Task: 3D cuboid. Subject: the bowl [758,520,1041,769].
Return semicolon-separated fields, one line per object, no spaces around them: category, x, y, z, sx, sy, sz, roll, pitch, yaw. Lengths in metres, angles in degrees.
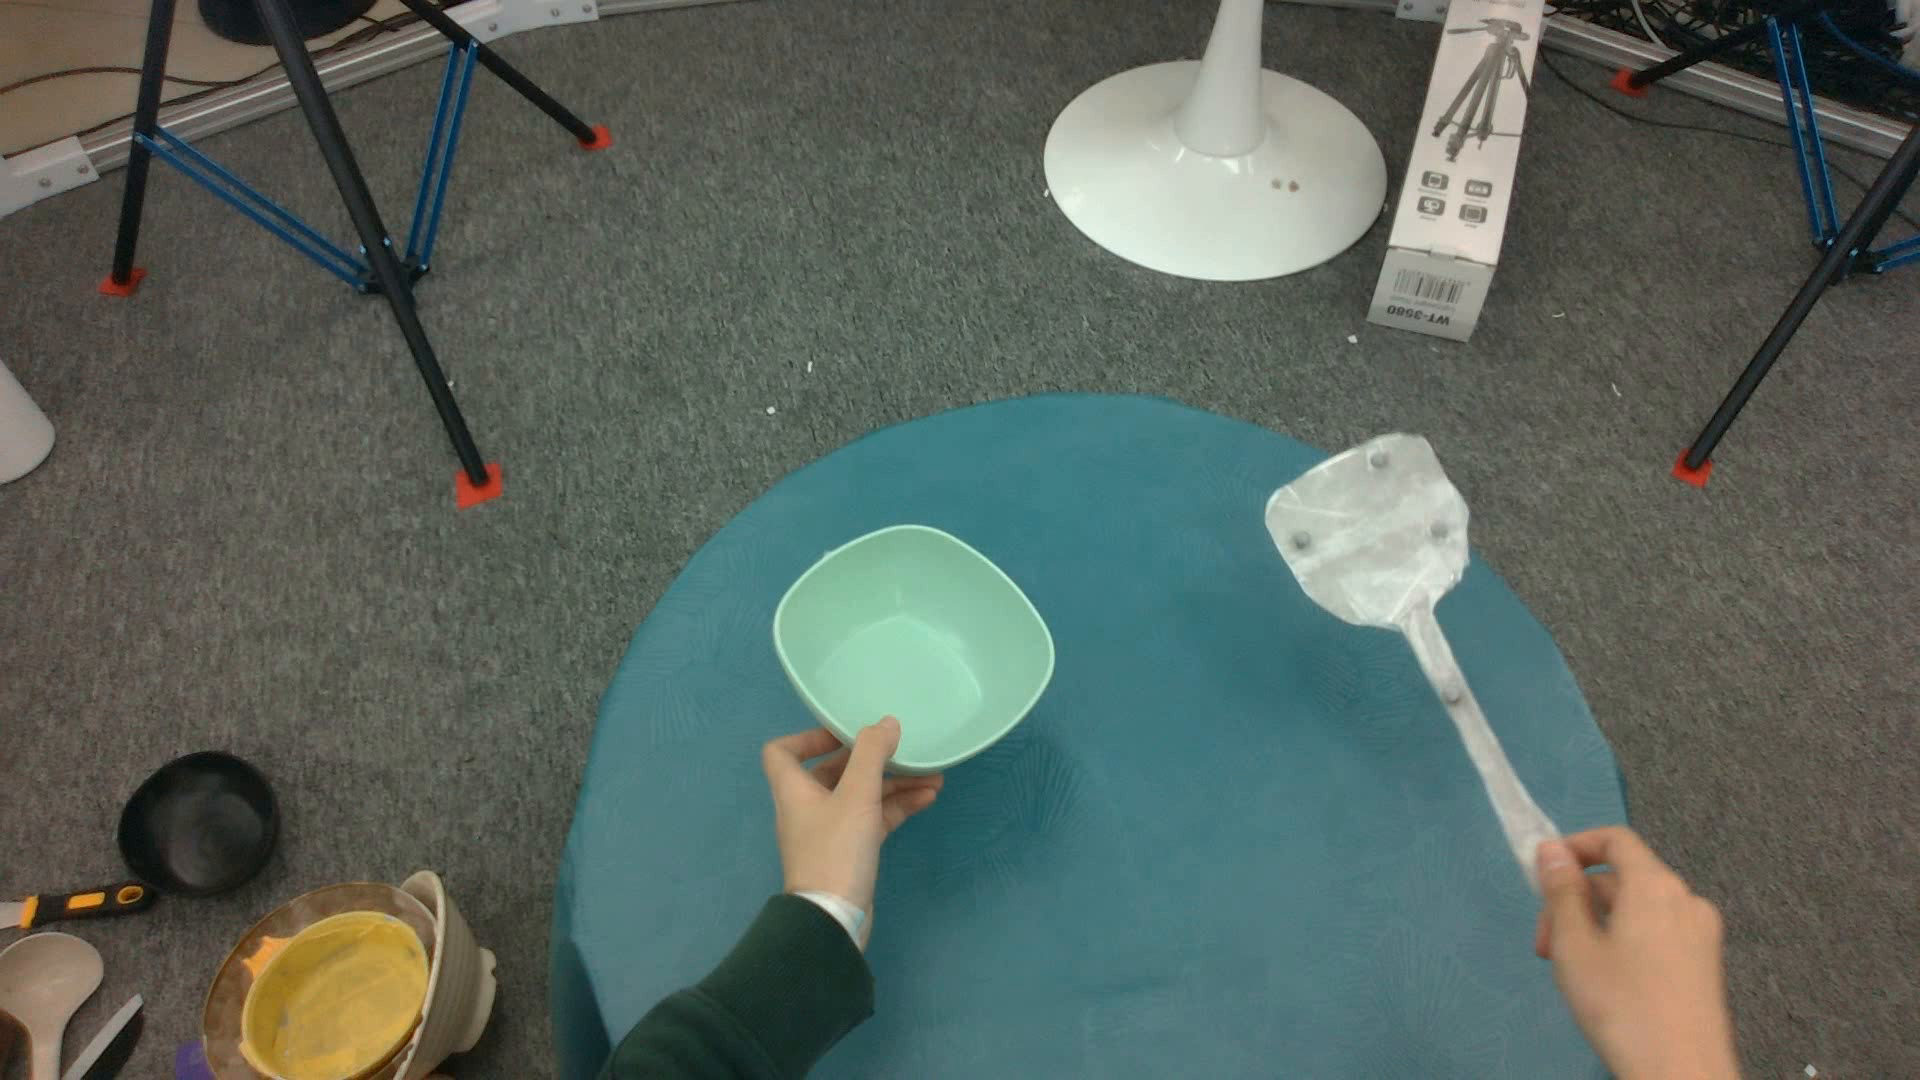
bowl;-0.036;0.065;0.744;0.151;0.058;0.152;8;50;-10

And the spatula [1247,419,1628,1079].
spatula;0.235;0.086;0.666;0.098;0.044;0.366;-26;45;15
